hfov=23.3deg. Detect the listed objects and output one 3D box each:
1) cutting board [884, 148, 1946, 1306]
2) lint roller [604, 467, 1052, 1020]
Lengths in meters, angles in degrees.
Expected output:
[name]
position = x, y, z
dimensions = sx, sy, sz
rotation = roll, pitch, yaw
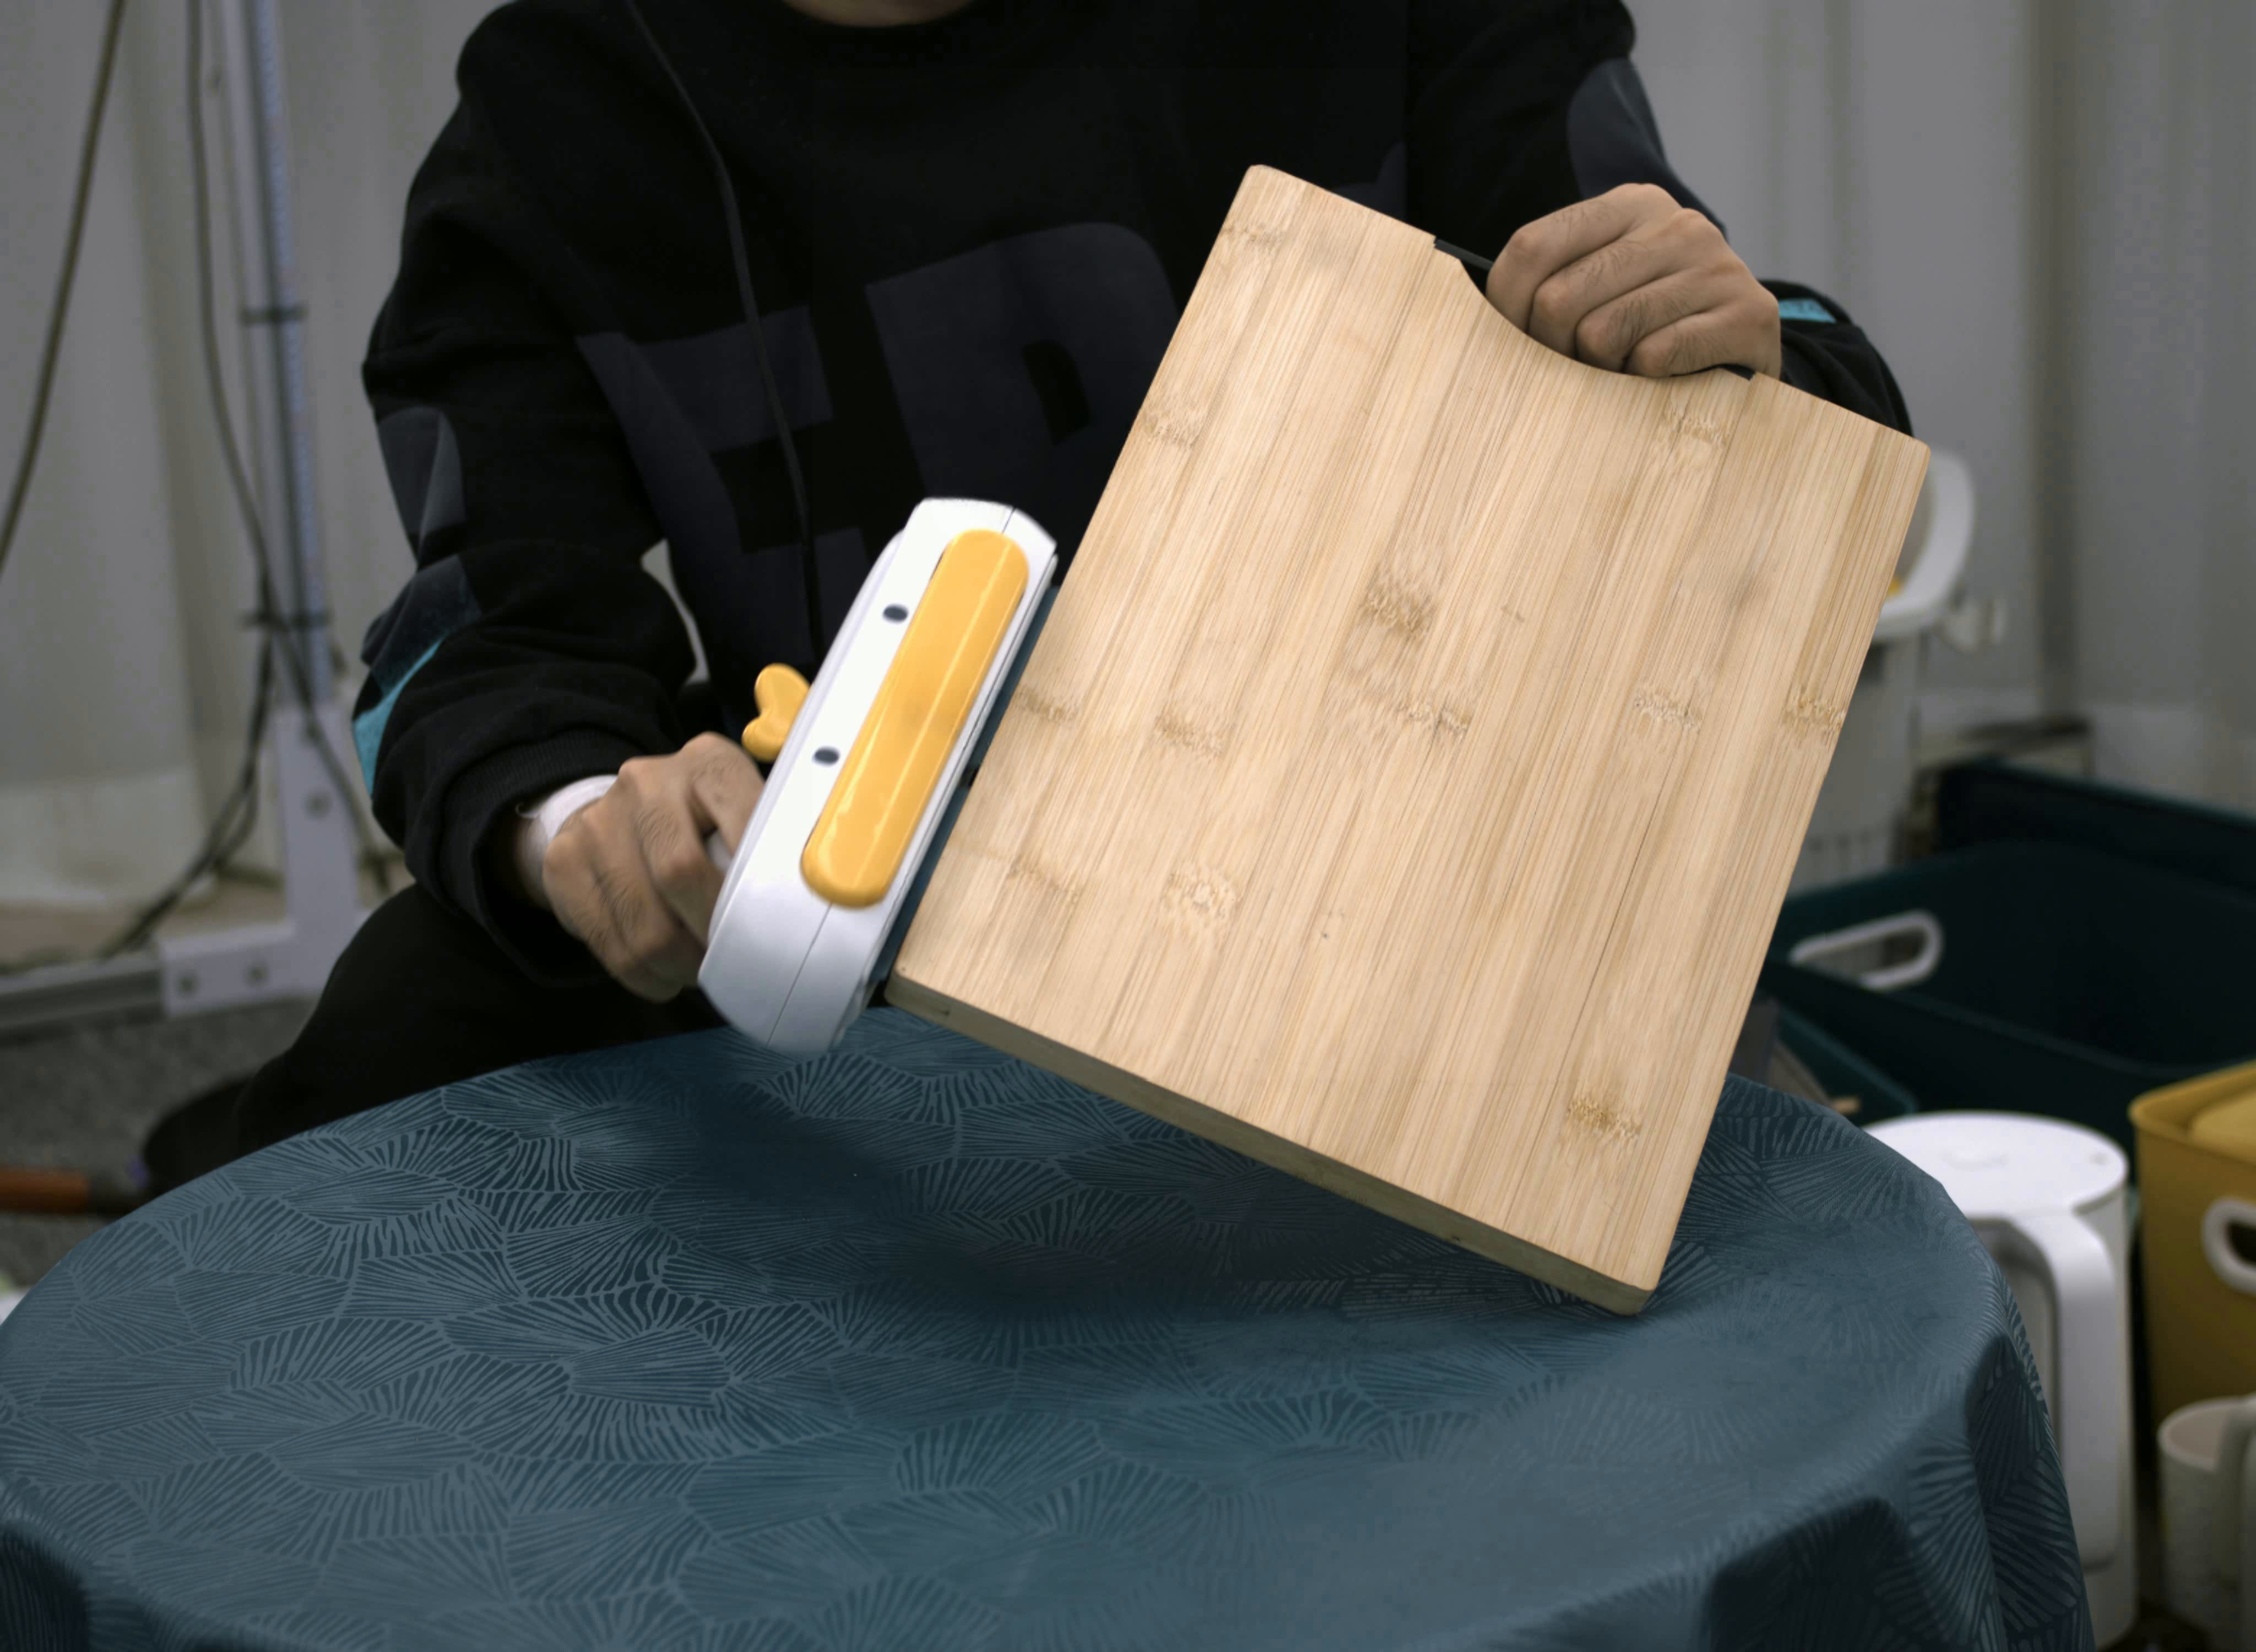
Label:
[cutting board]
position = 0.096, -0.040, 1.681
dimensions = 0.250, 0.023, 0.353
rotation = 22, 55, 0
[lint roller]
position = -0.101, -0.001, 1.682
dimensions = 0.074, 0.191, 0.195
rotation = 26, 51, -12
